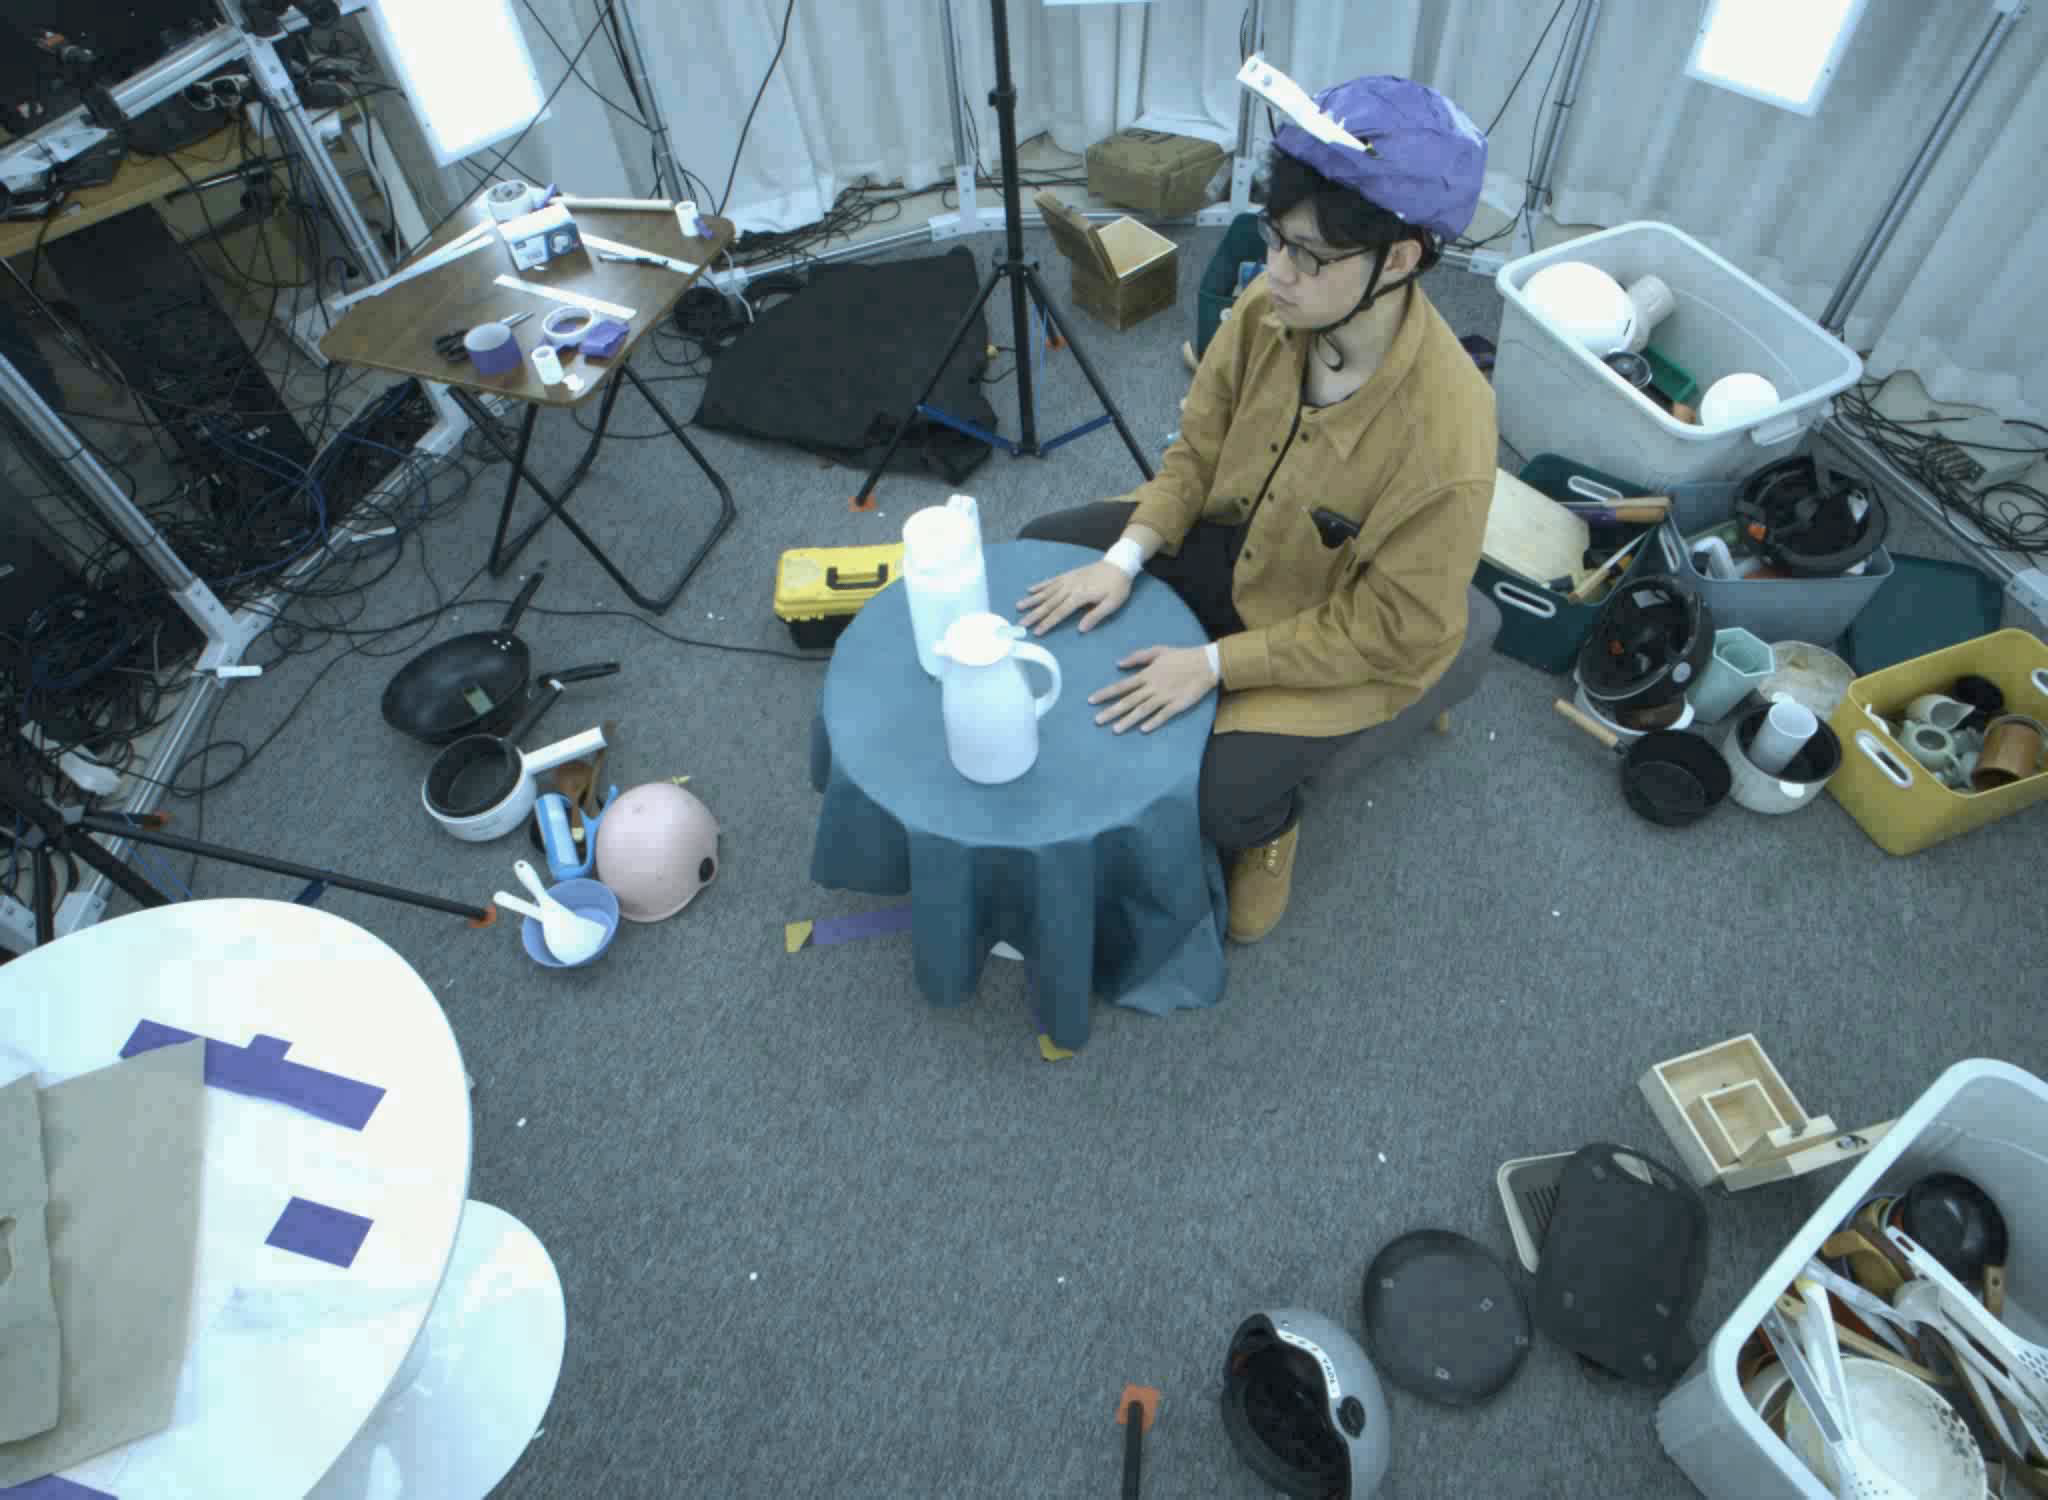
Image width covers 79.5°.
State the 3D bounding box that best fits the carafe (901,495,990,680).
[{"bbox_3d":[-0.108,-0.239,1.792,0.122,0.272,0.172,12,56,15],"label":"carafe"}]

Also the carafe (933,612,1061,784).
[{"bbox_3d":[-0.033,-0.079,1.687,0.168,0.251,0.131,-4,54,-1],"label":"carafe"}]
